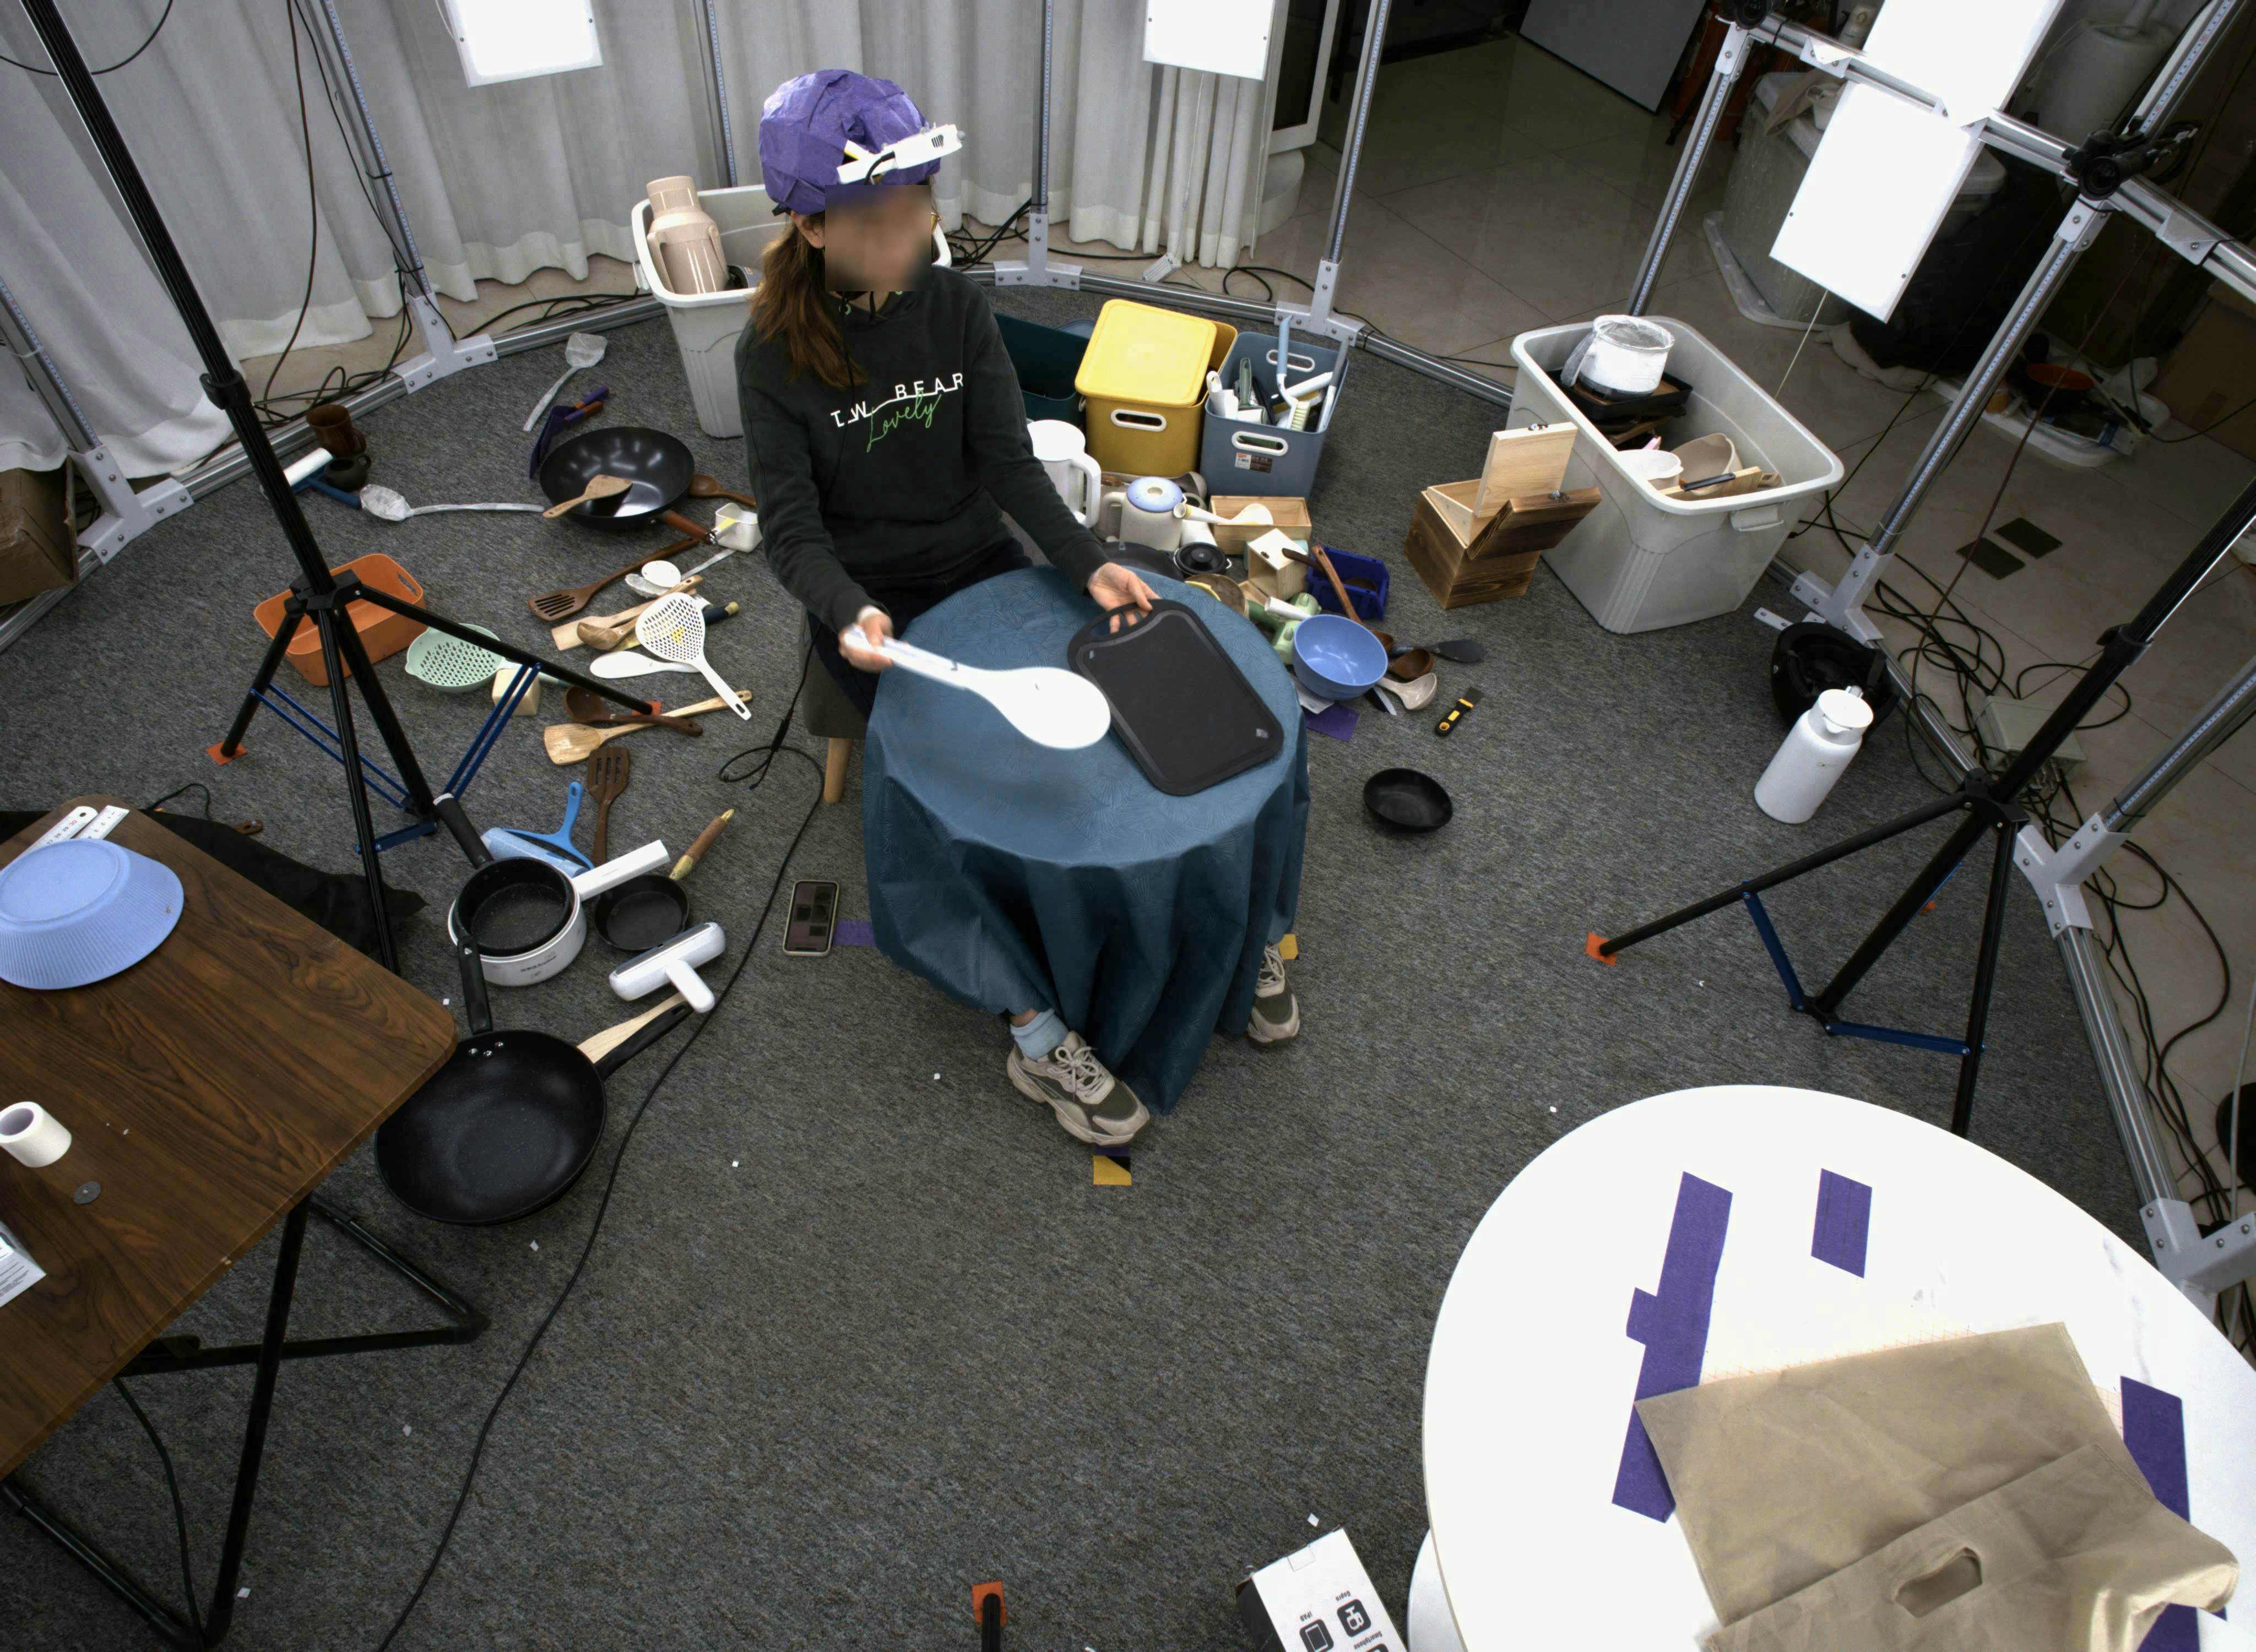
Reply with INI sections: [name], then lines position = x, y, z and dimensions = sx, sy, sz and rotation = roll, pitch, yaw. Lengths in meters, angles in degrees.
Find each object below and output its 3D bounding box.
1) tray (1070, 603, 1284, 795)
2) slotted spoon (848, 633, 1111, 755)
[tray]
position = 0.062, -0.192, 1.817
dimensions = 0.212, 0.009, 0.331
rotation = -25, 62, -18
[slotted spoon]
position = -0.190, -0.176, 1.650
dimensions = 0.349, 0.045, 0.139
rotation = 23, 45, -2
